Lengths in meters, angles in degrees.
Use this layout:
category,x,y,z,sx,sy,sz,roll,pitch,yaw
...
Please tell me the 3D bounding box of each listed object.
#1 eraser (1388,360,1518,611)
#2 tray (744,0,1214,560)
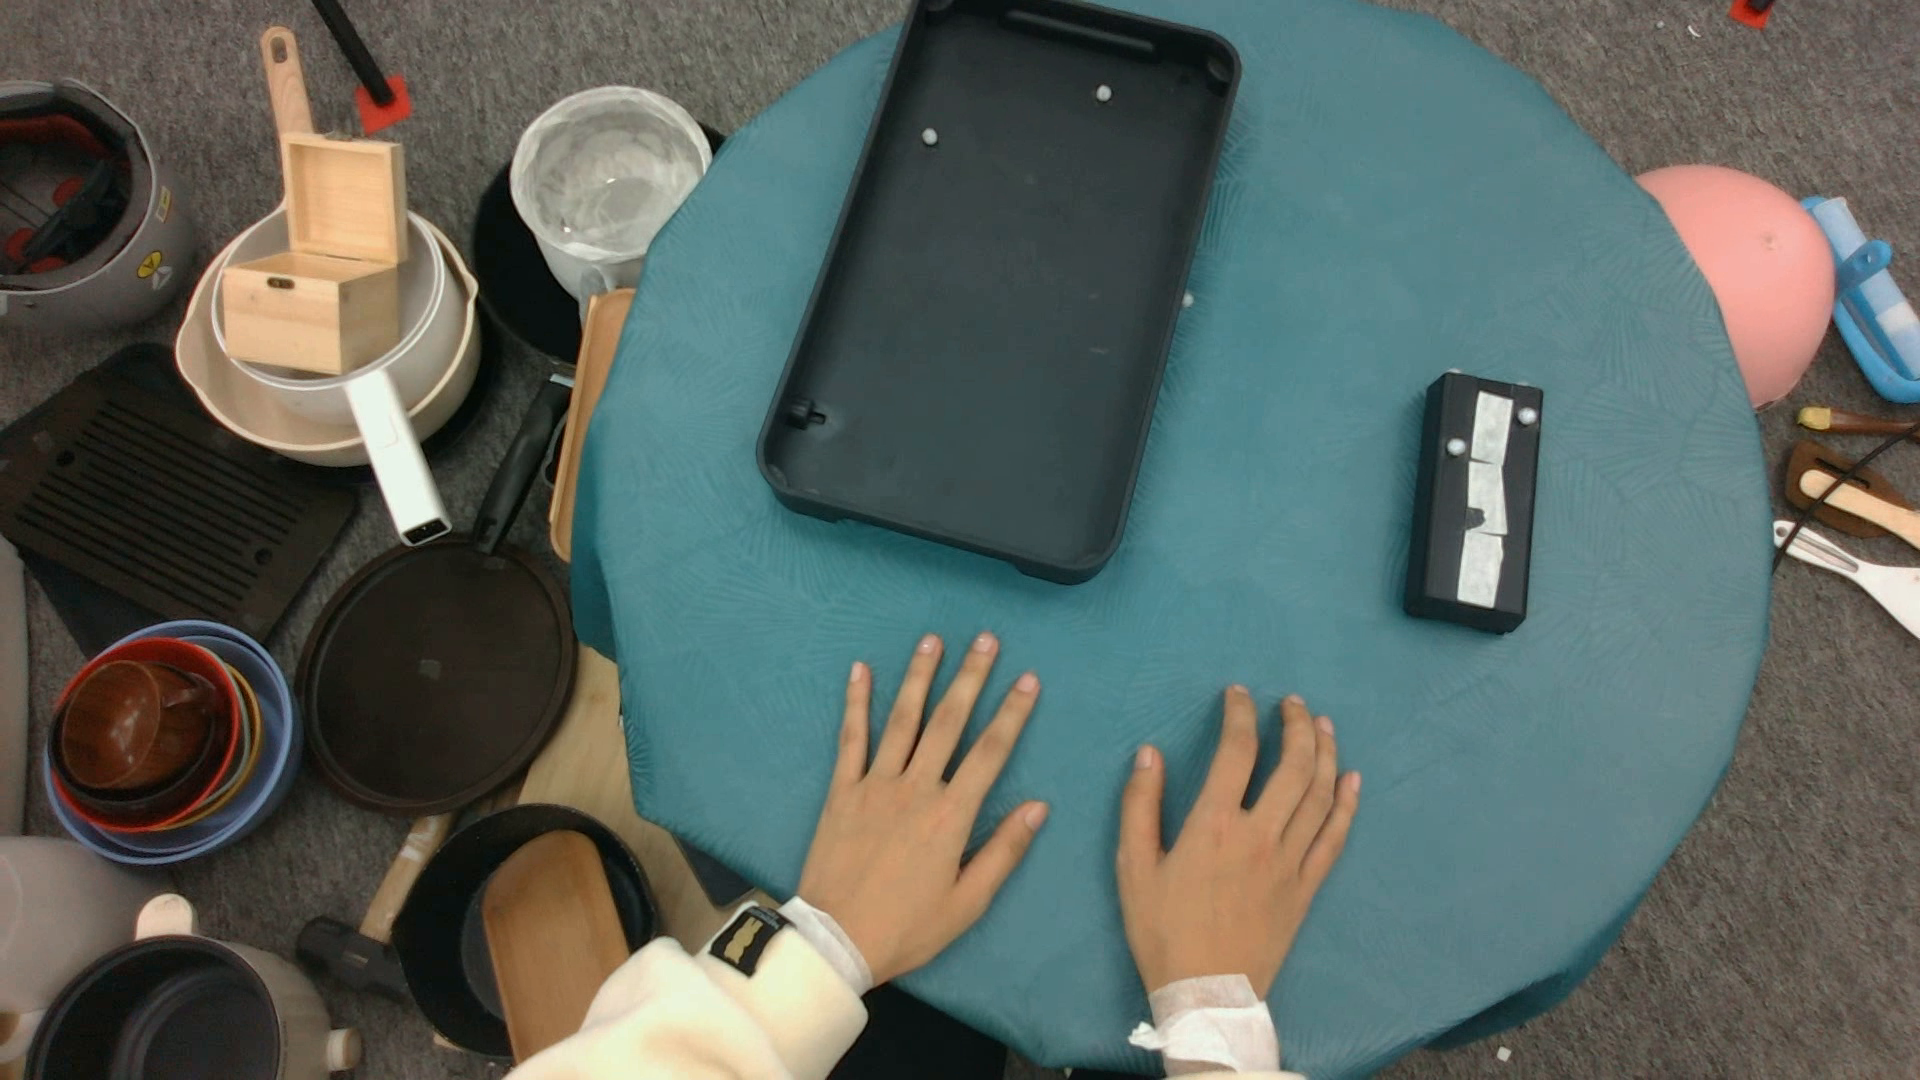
category,x,y,z,sx,sy,sz,roll,pitch,yaw
eraser,0.246,-0.029,0.688,0.053,0.030,0.126,9,70,6
tray,0.017,-0.155,0.720,0.184,0.037,0.319,13,71,3
